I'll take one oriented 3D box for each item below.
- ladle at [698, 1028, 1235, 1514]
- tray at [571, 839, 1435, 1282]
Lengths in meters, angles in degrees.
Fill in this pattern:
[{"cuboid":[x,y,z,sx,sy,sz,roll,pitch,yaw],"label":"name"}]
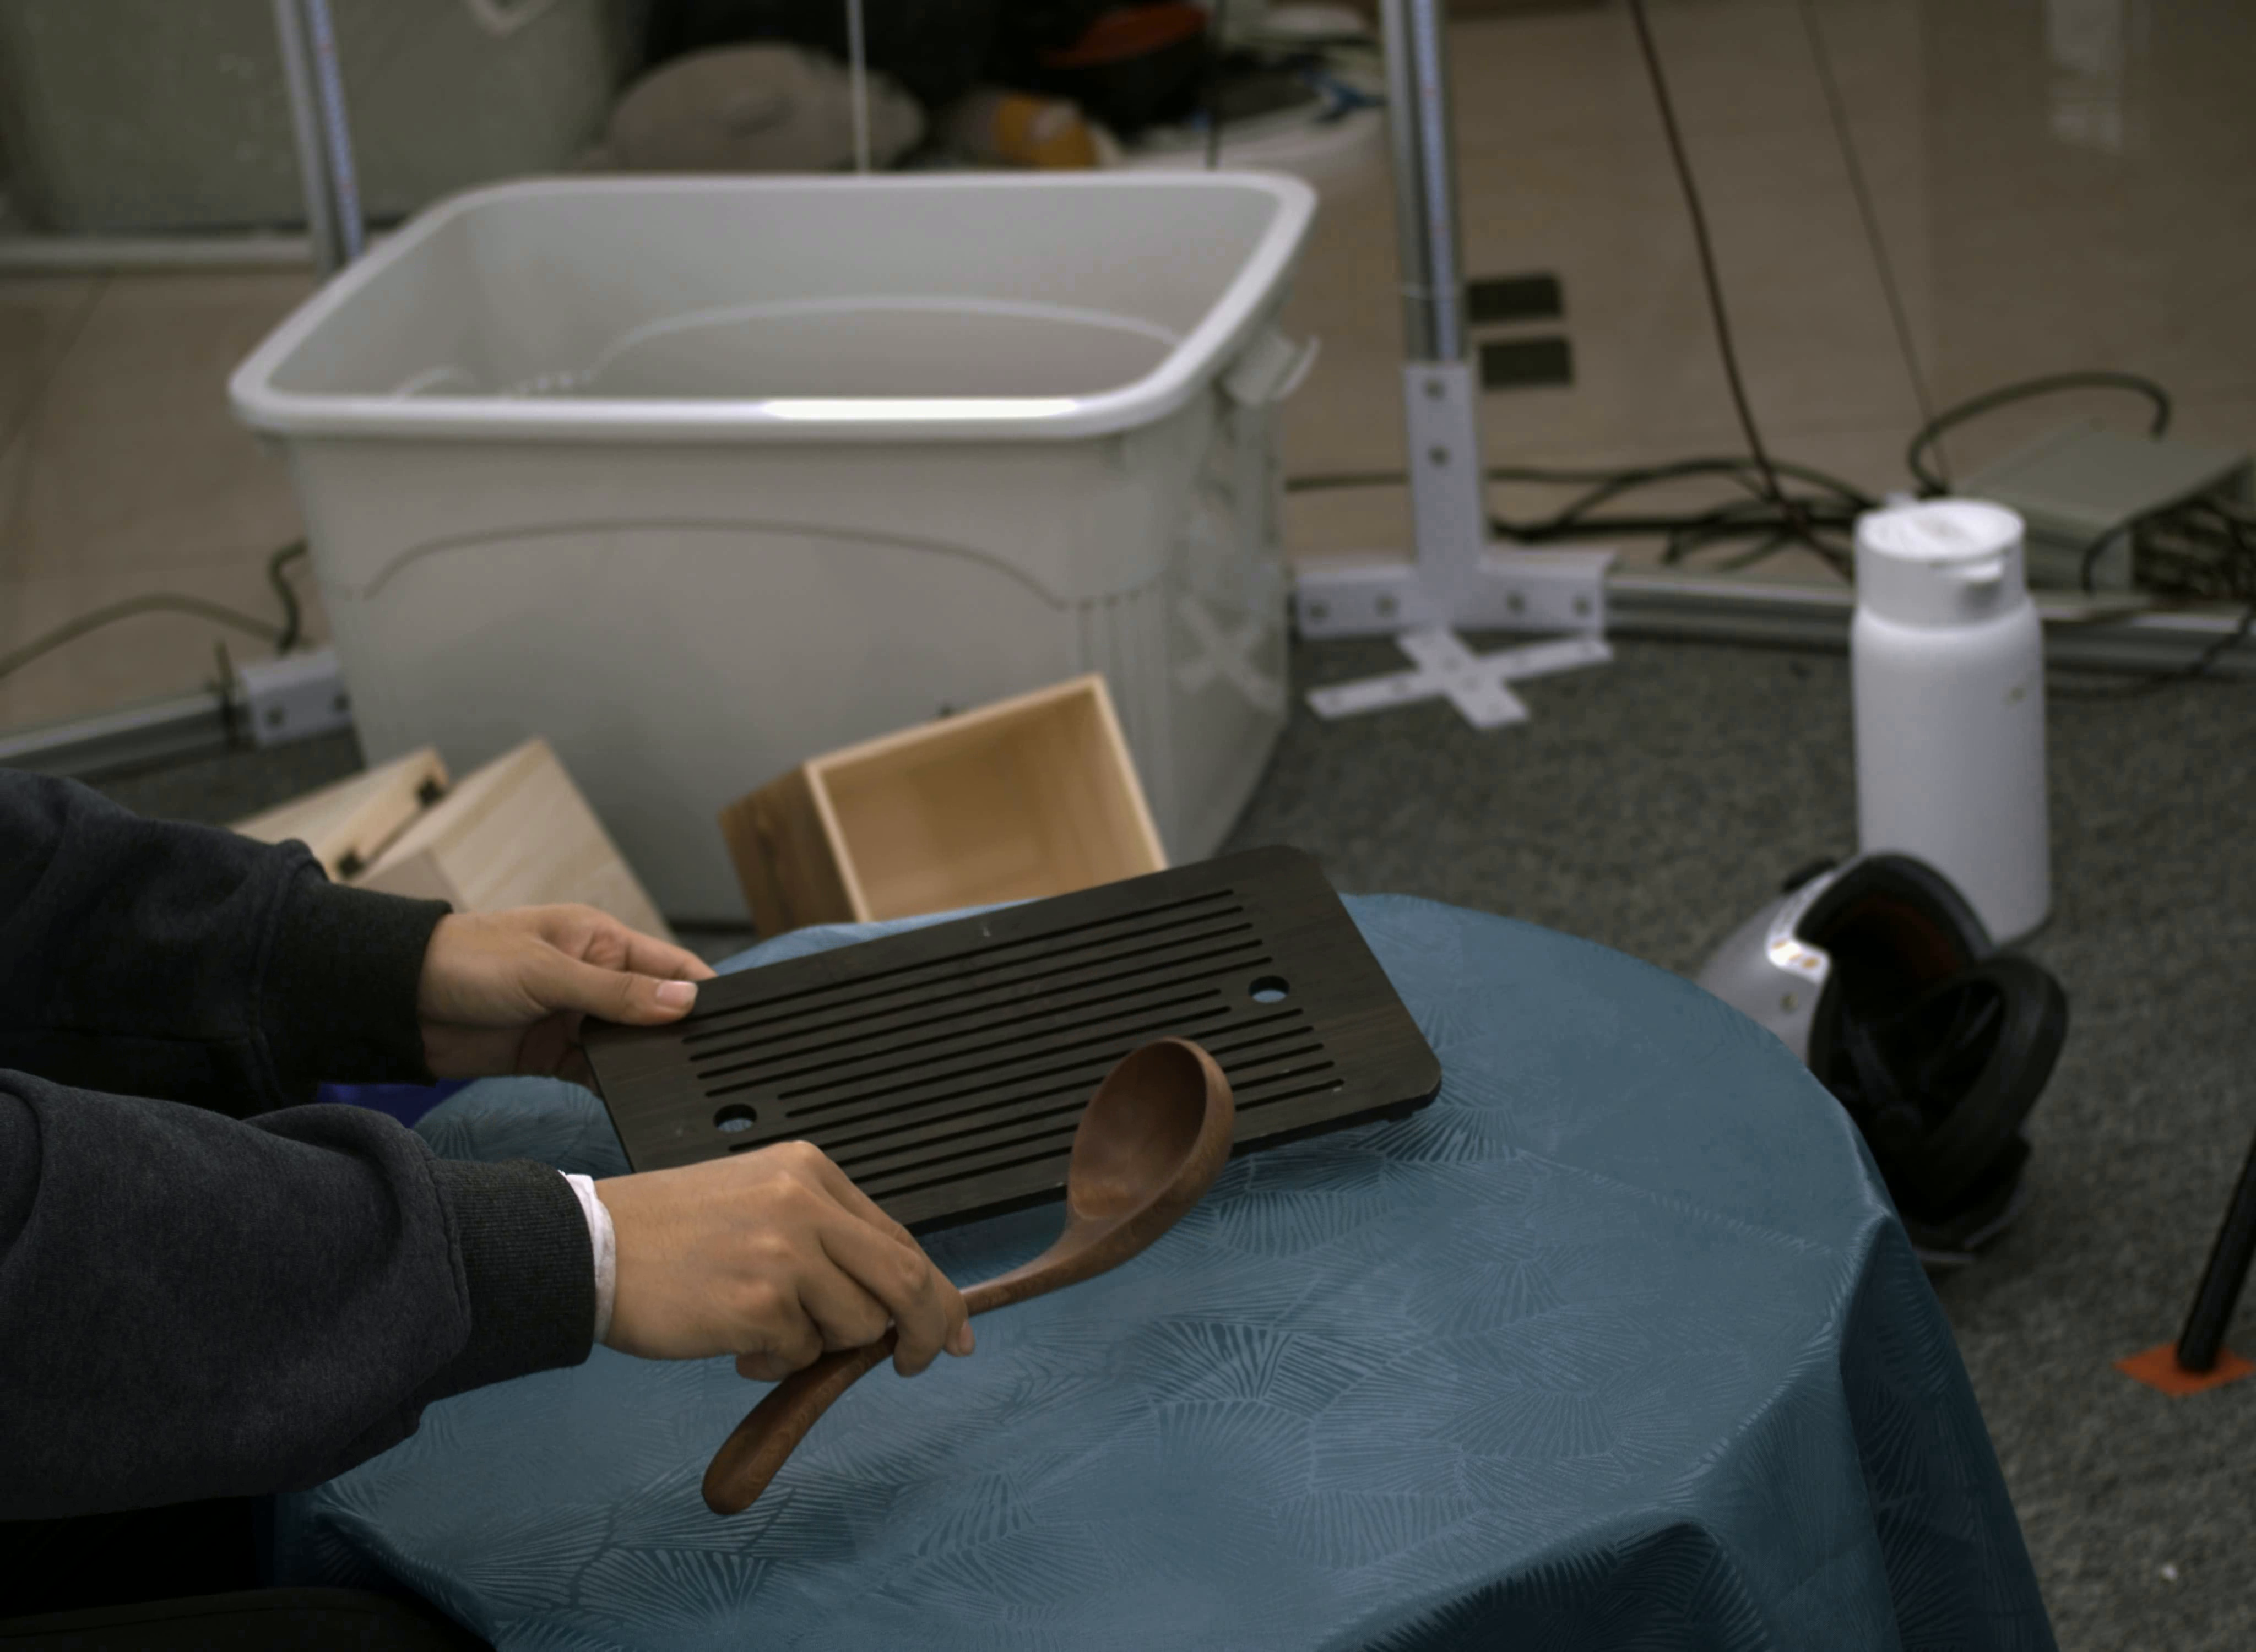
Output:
[{"cuboid":[-0.061,0.151,1.980,0.258,0.065,0.076,-30,11,-35],"label":"ladle"},{"cuboid":[-0.049,0.089,2.177,0.305,0.019,0.167,-13,39,-13],"label":"tray"}]
